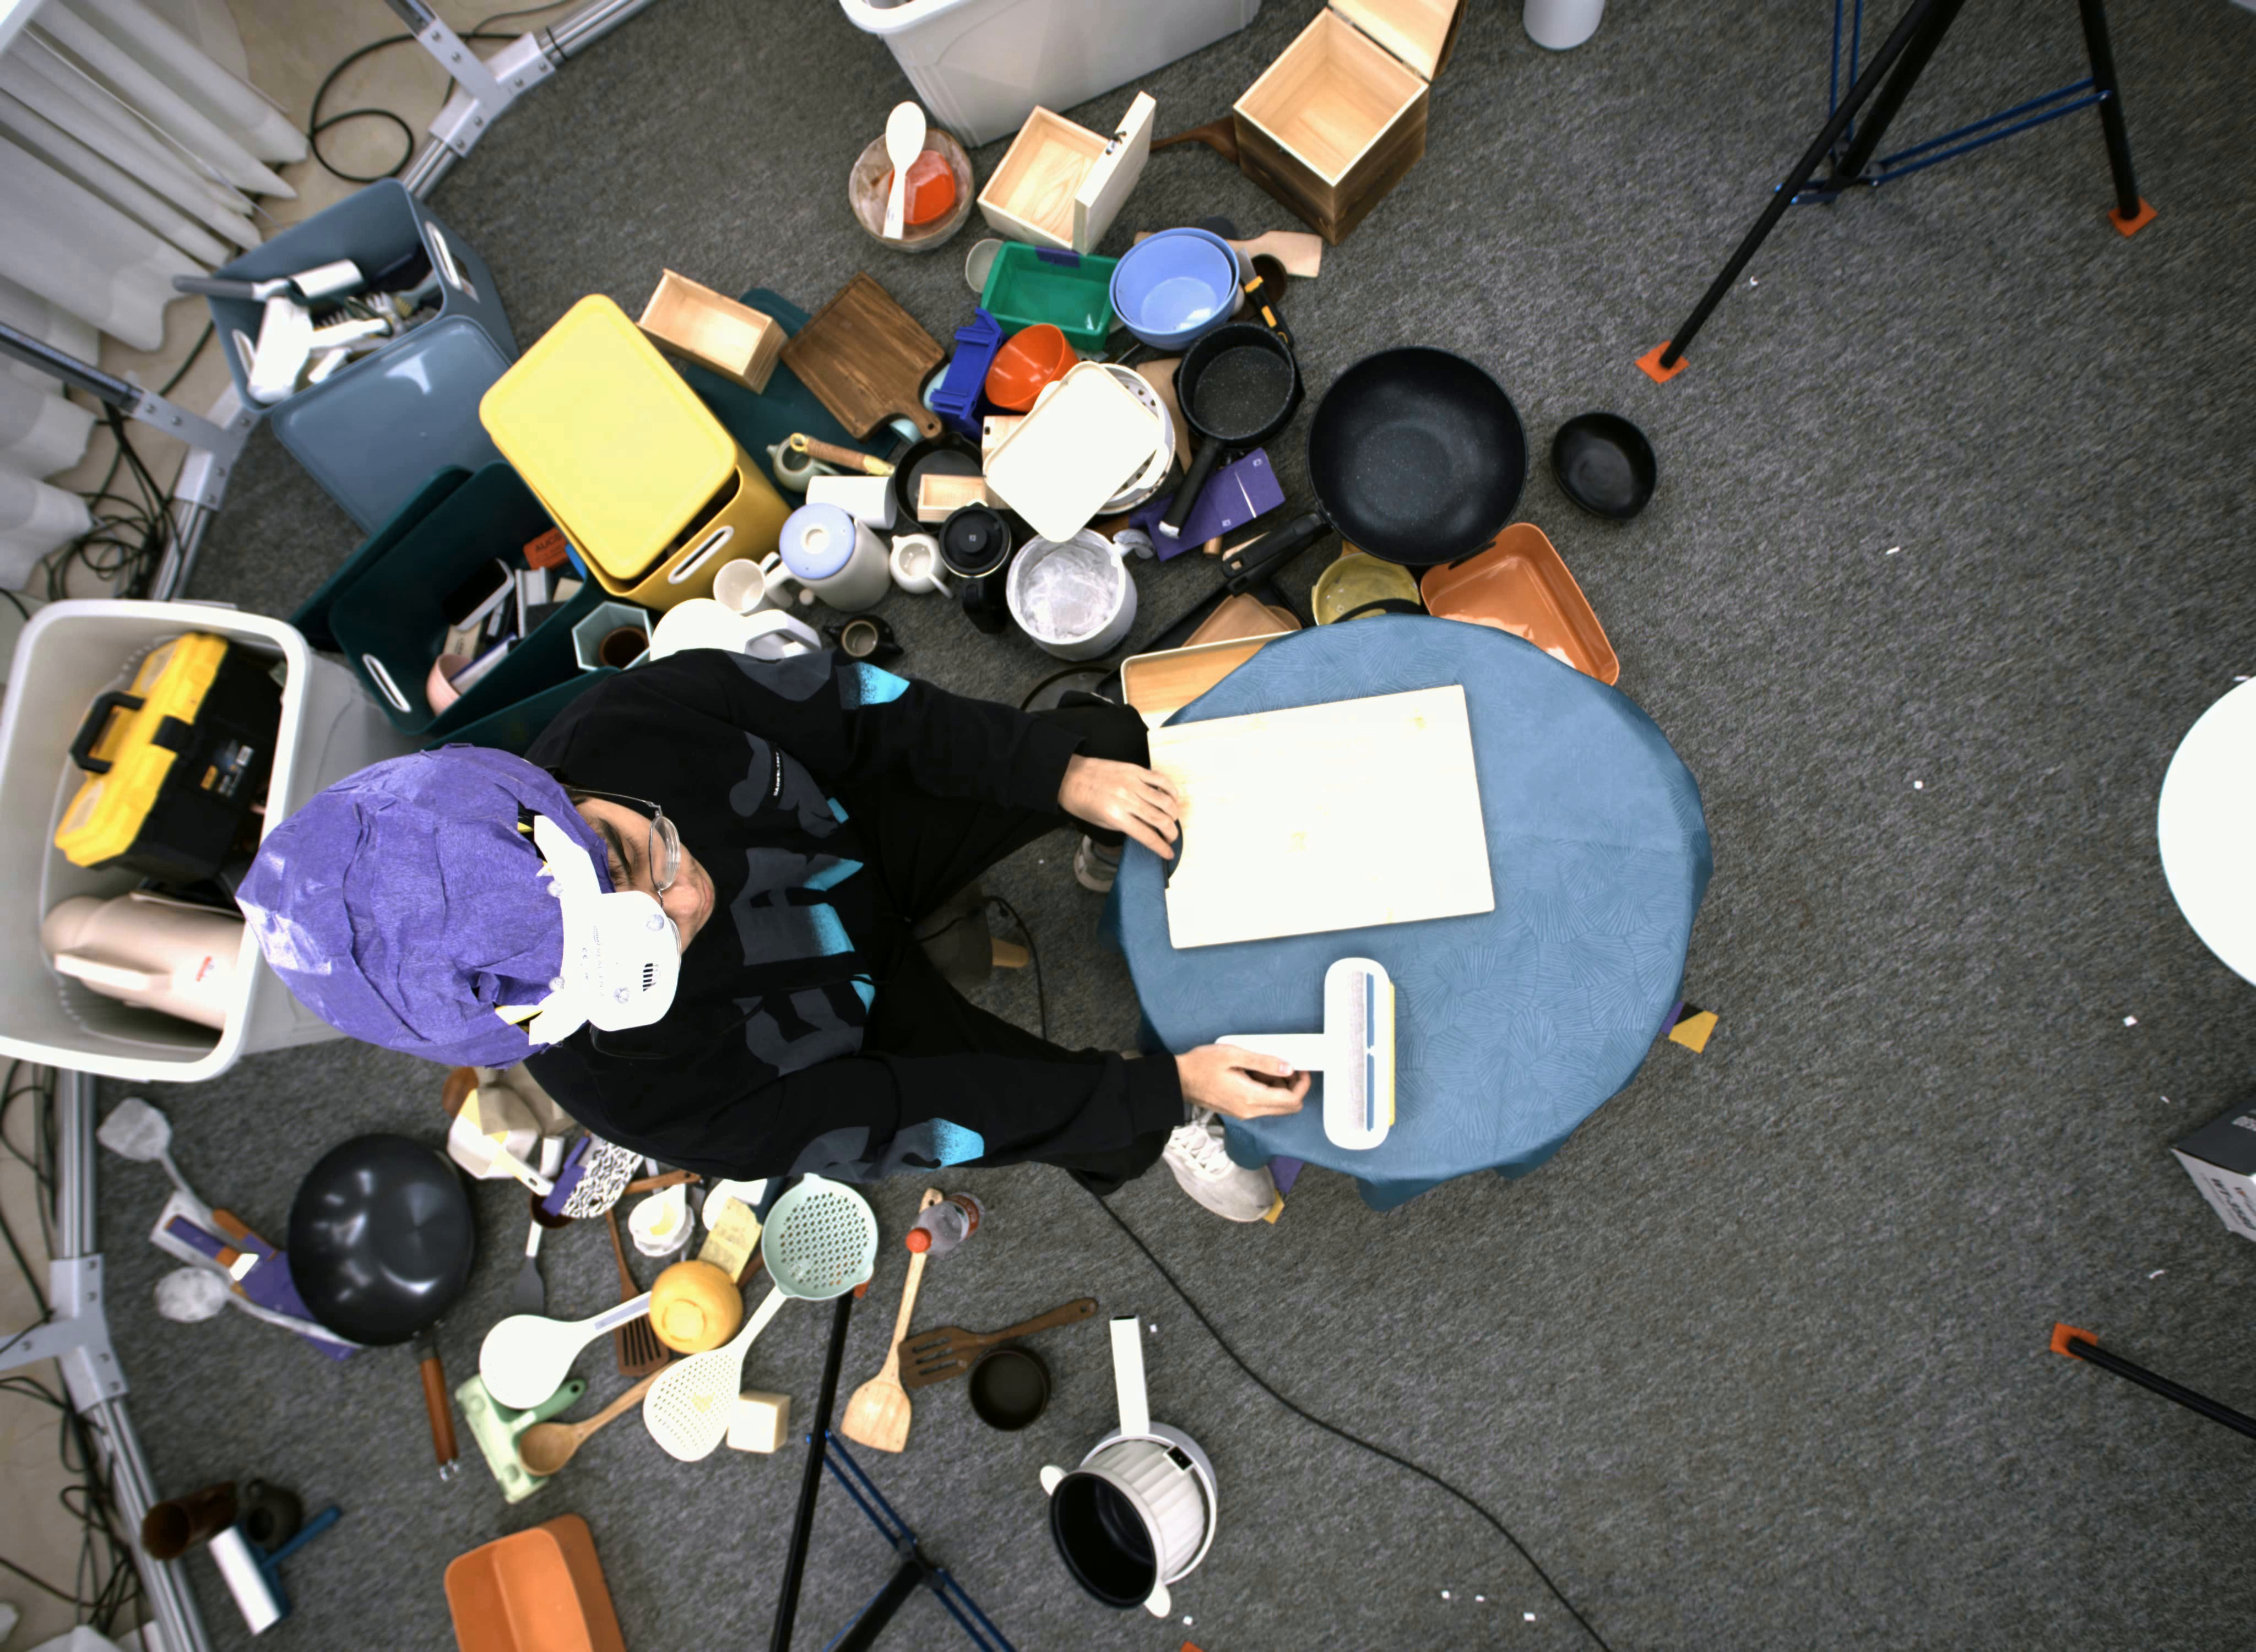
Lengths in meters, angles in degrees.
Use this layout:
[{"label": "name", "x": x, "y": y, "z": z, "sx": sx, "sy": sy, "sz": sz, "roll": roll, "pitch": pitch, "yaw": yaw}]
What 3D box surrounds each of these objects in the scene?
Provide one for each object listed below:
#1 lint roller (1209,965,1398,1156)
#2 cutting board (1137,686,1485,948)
[{"label": "lint roller", "x": 0.177, "y": 0.235, "z": 1.430, "sx": 0.193, "sy": 0.074, "sz": 0.191, "roll": 3, "pitch": 82, "yaw": 12}, {"label": "cutting board", "x": 0.194, "y": -0.009, "z": 1.466, "sx": 0.350, "sy": 0.023, "sz": 0.249, "roll": -8, "pitch": 86, "yaw": 10}]
